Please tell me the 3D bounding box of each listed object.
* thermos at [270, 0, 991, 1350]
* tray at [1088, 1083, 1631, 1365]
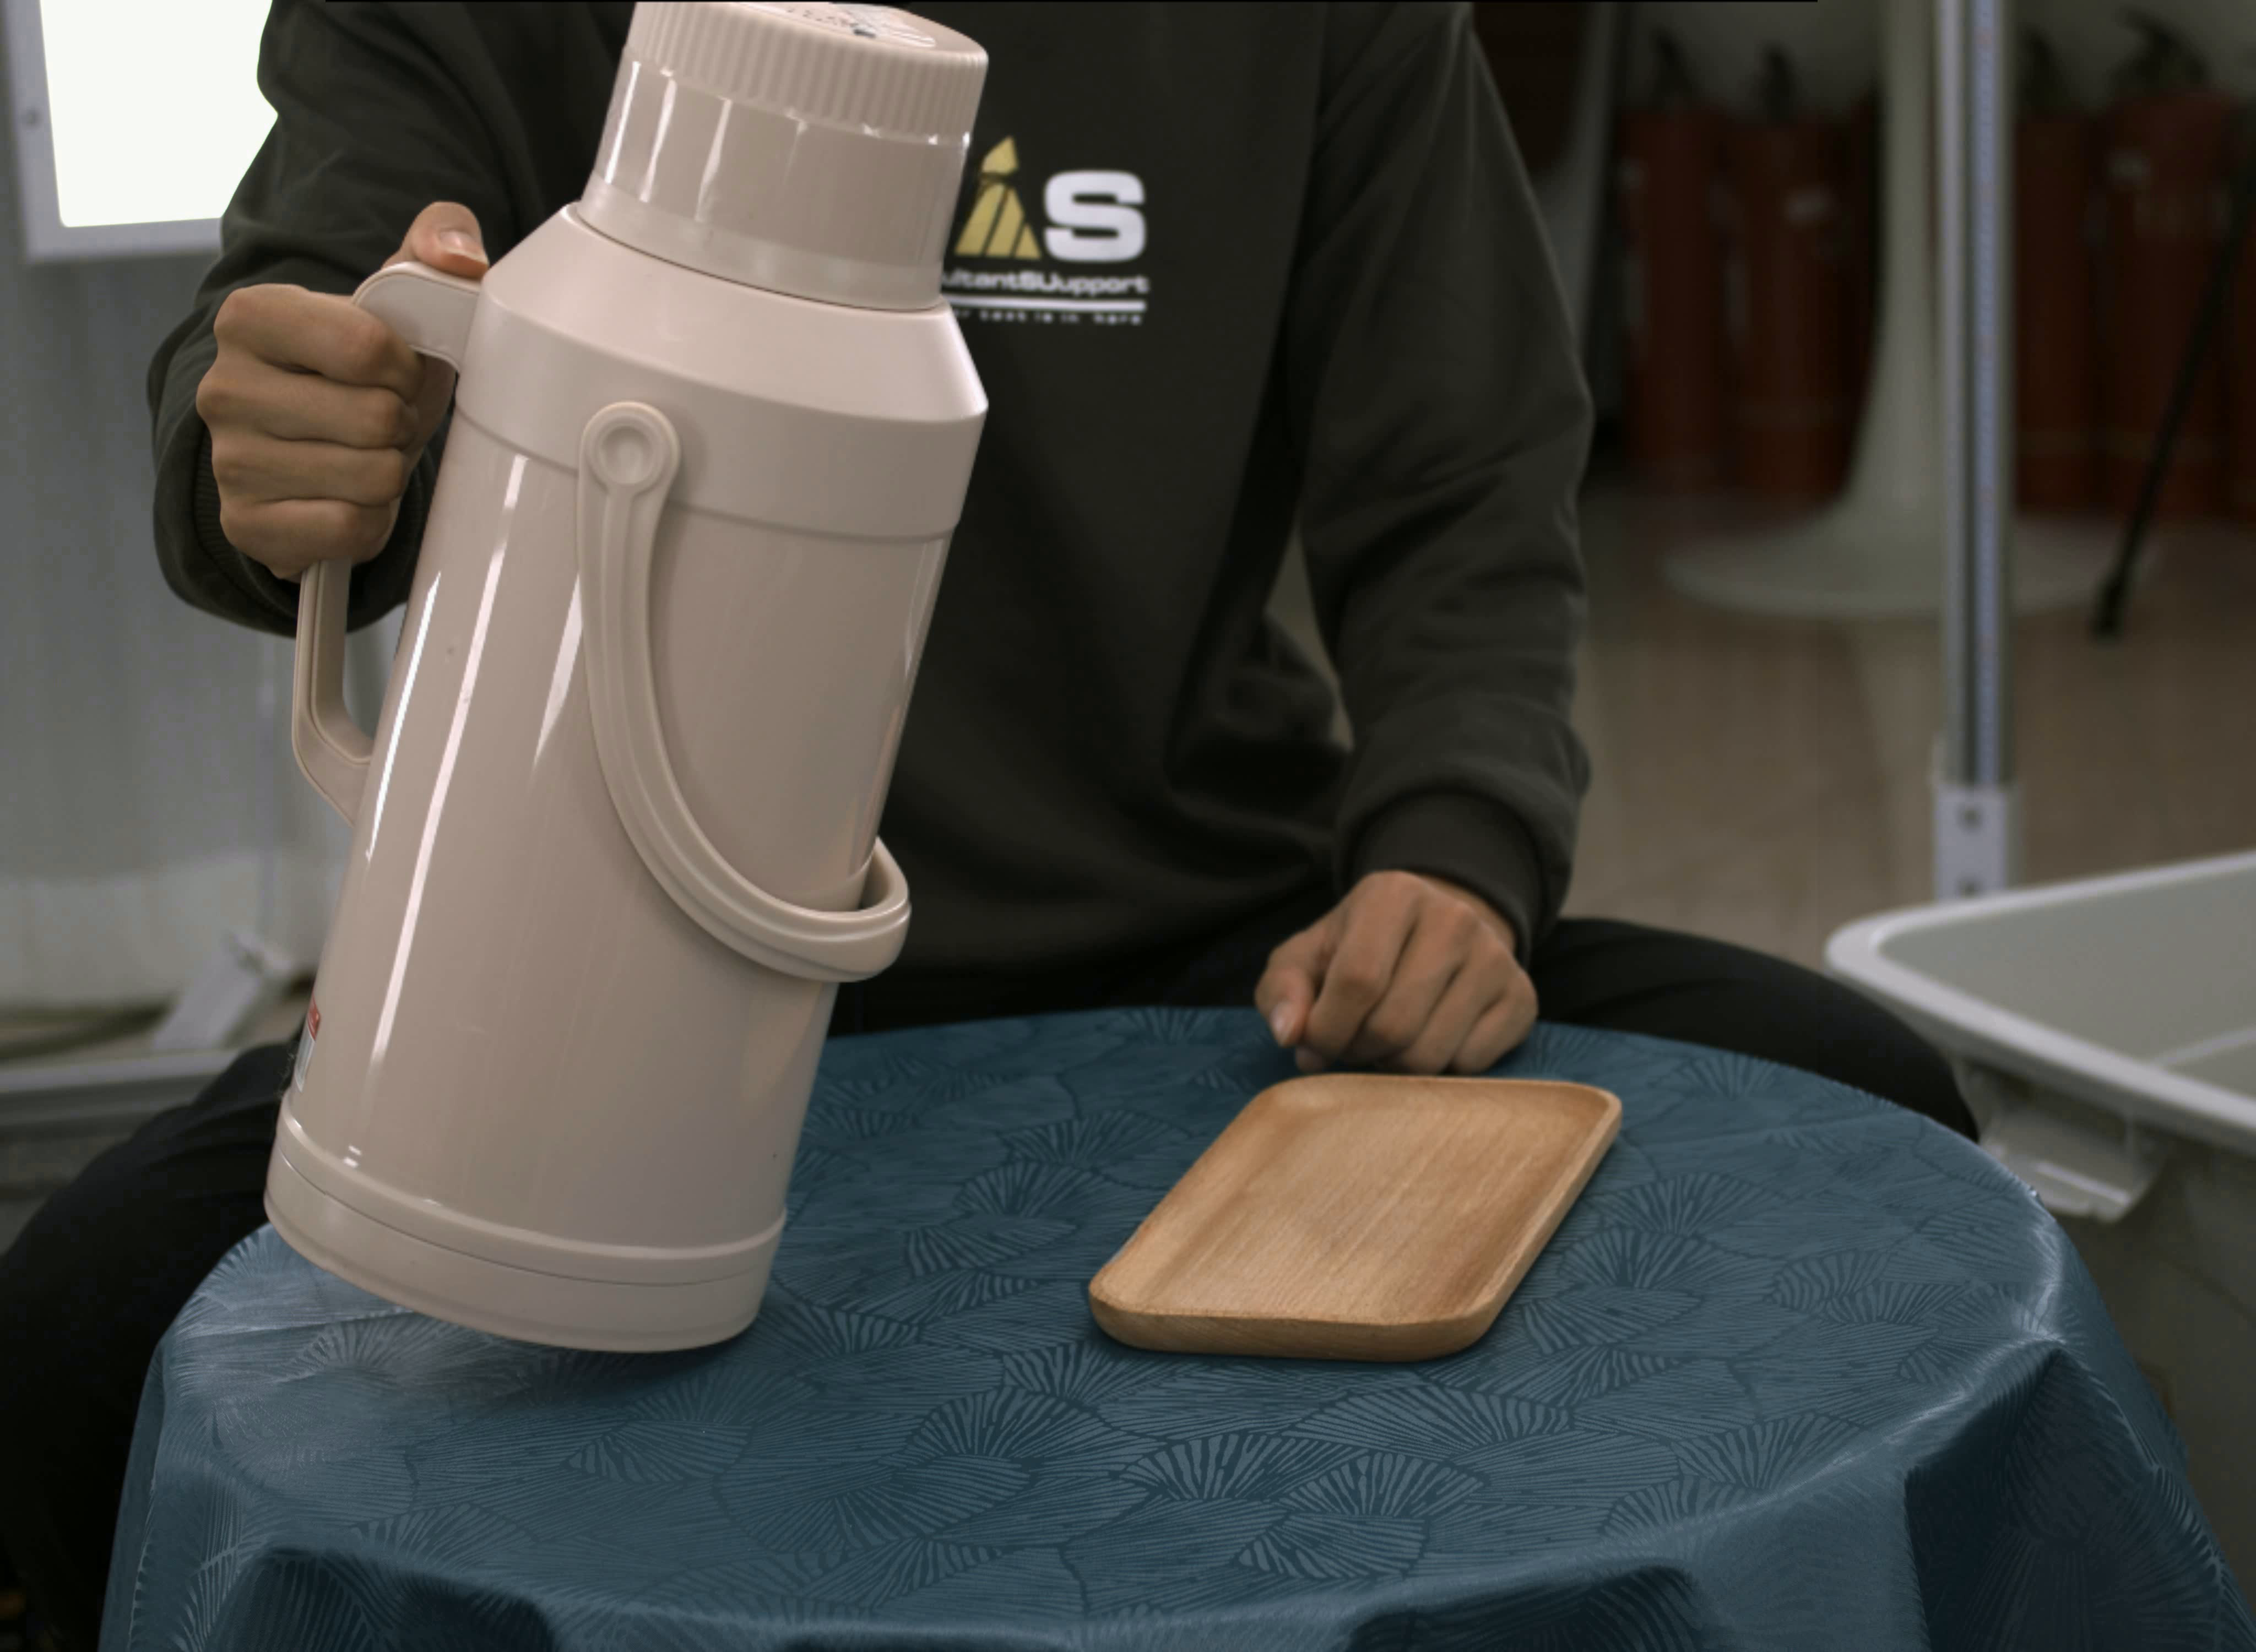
[{"bbox_3d":[-0.152,-0.061,1.633,0.206,0.411,0.174,17,14,10],"label":"thermos"},{"bbox_3d":[0.078,0.124,1.713,0.130,0.023,0.248,3,14,18],"label":"tray"}]
